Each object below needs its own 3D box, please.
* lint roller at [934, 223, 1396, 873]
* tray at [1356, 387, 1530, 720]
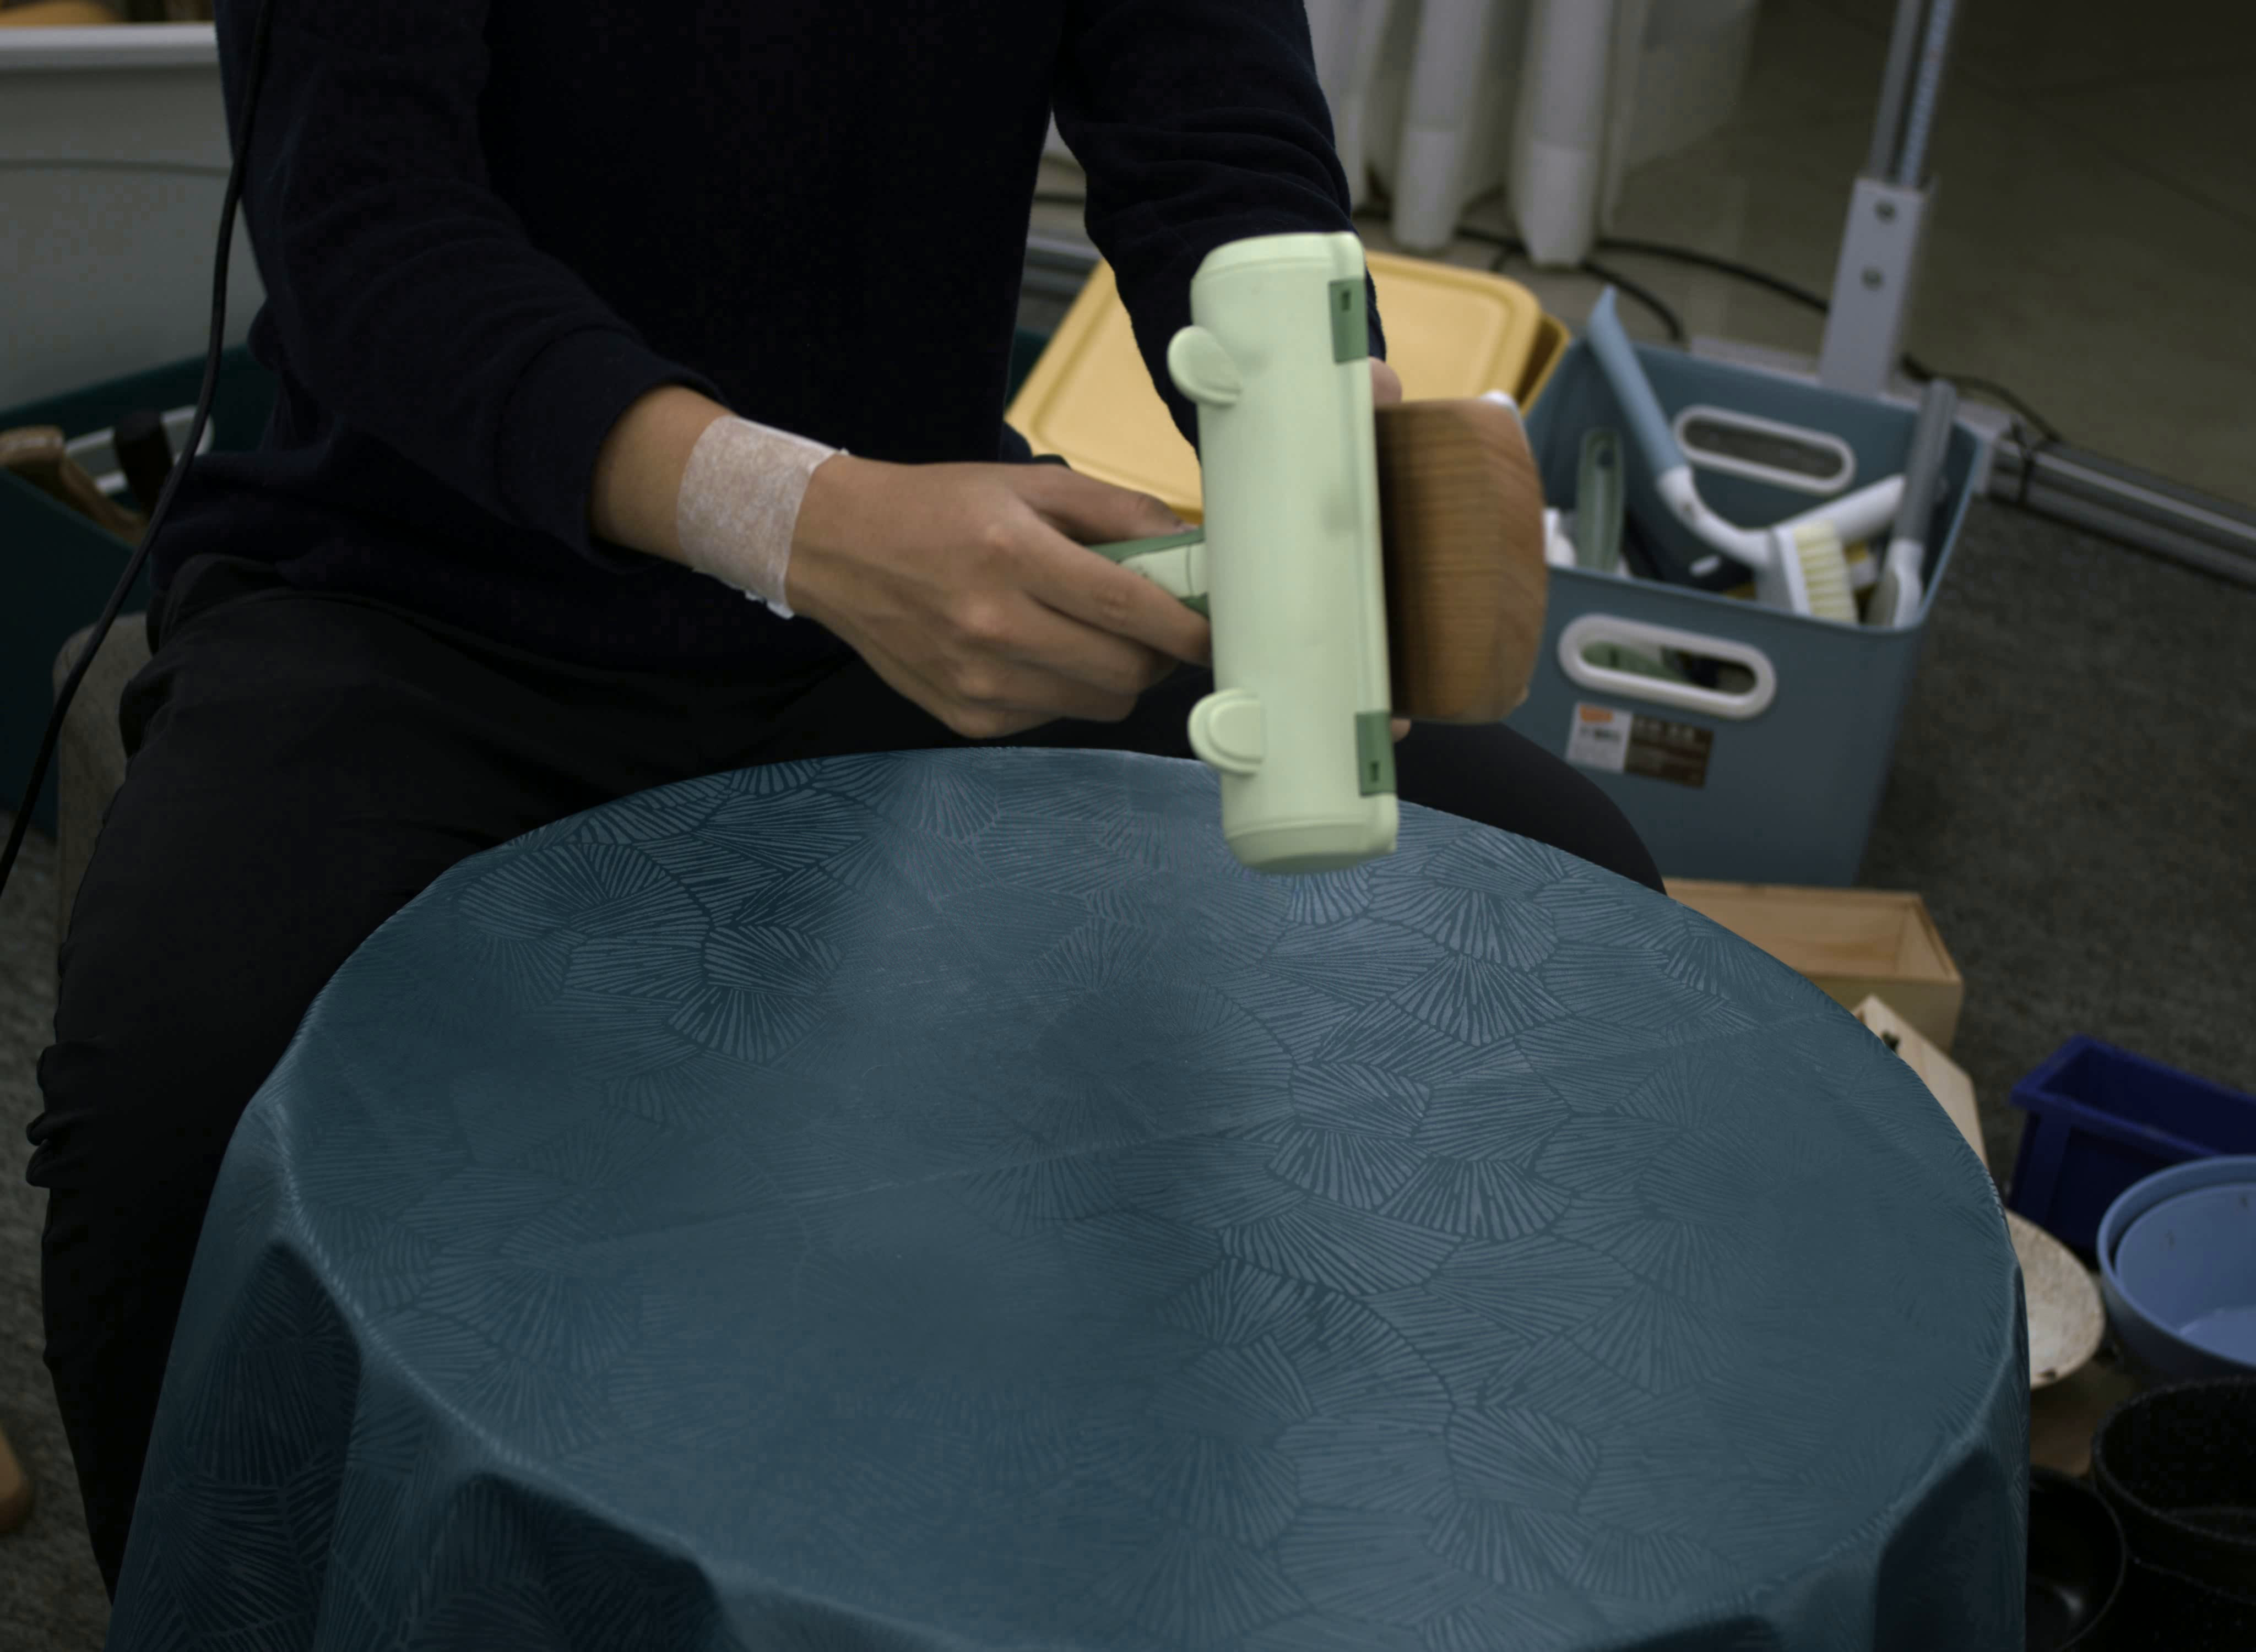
[{"bbox_3d":[-0.001,-0.079,1.666,0.184,0.199,0.081,-9,-10,32],"label":"lint roller"},{"bbox_3d":[0.075,-0.086,1.681,0.020,0.102,0.232,0,3,-20],"label":"tray"}]
